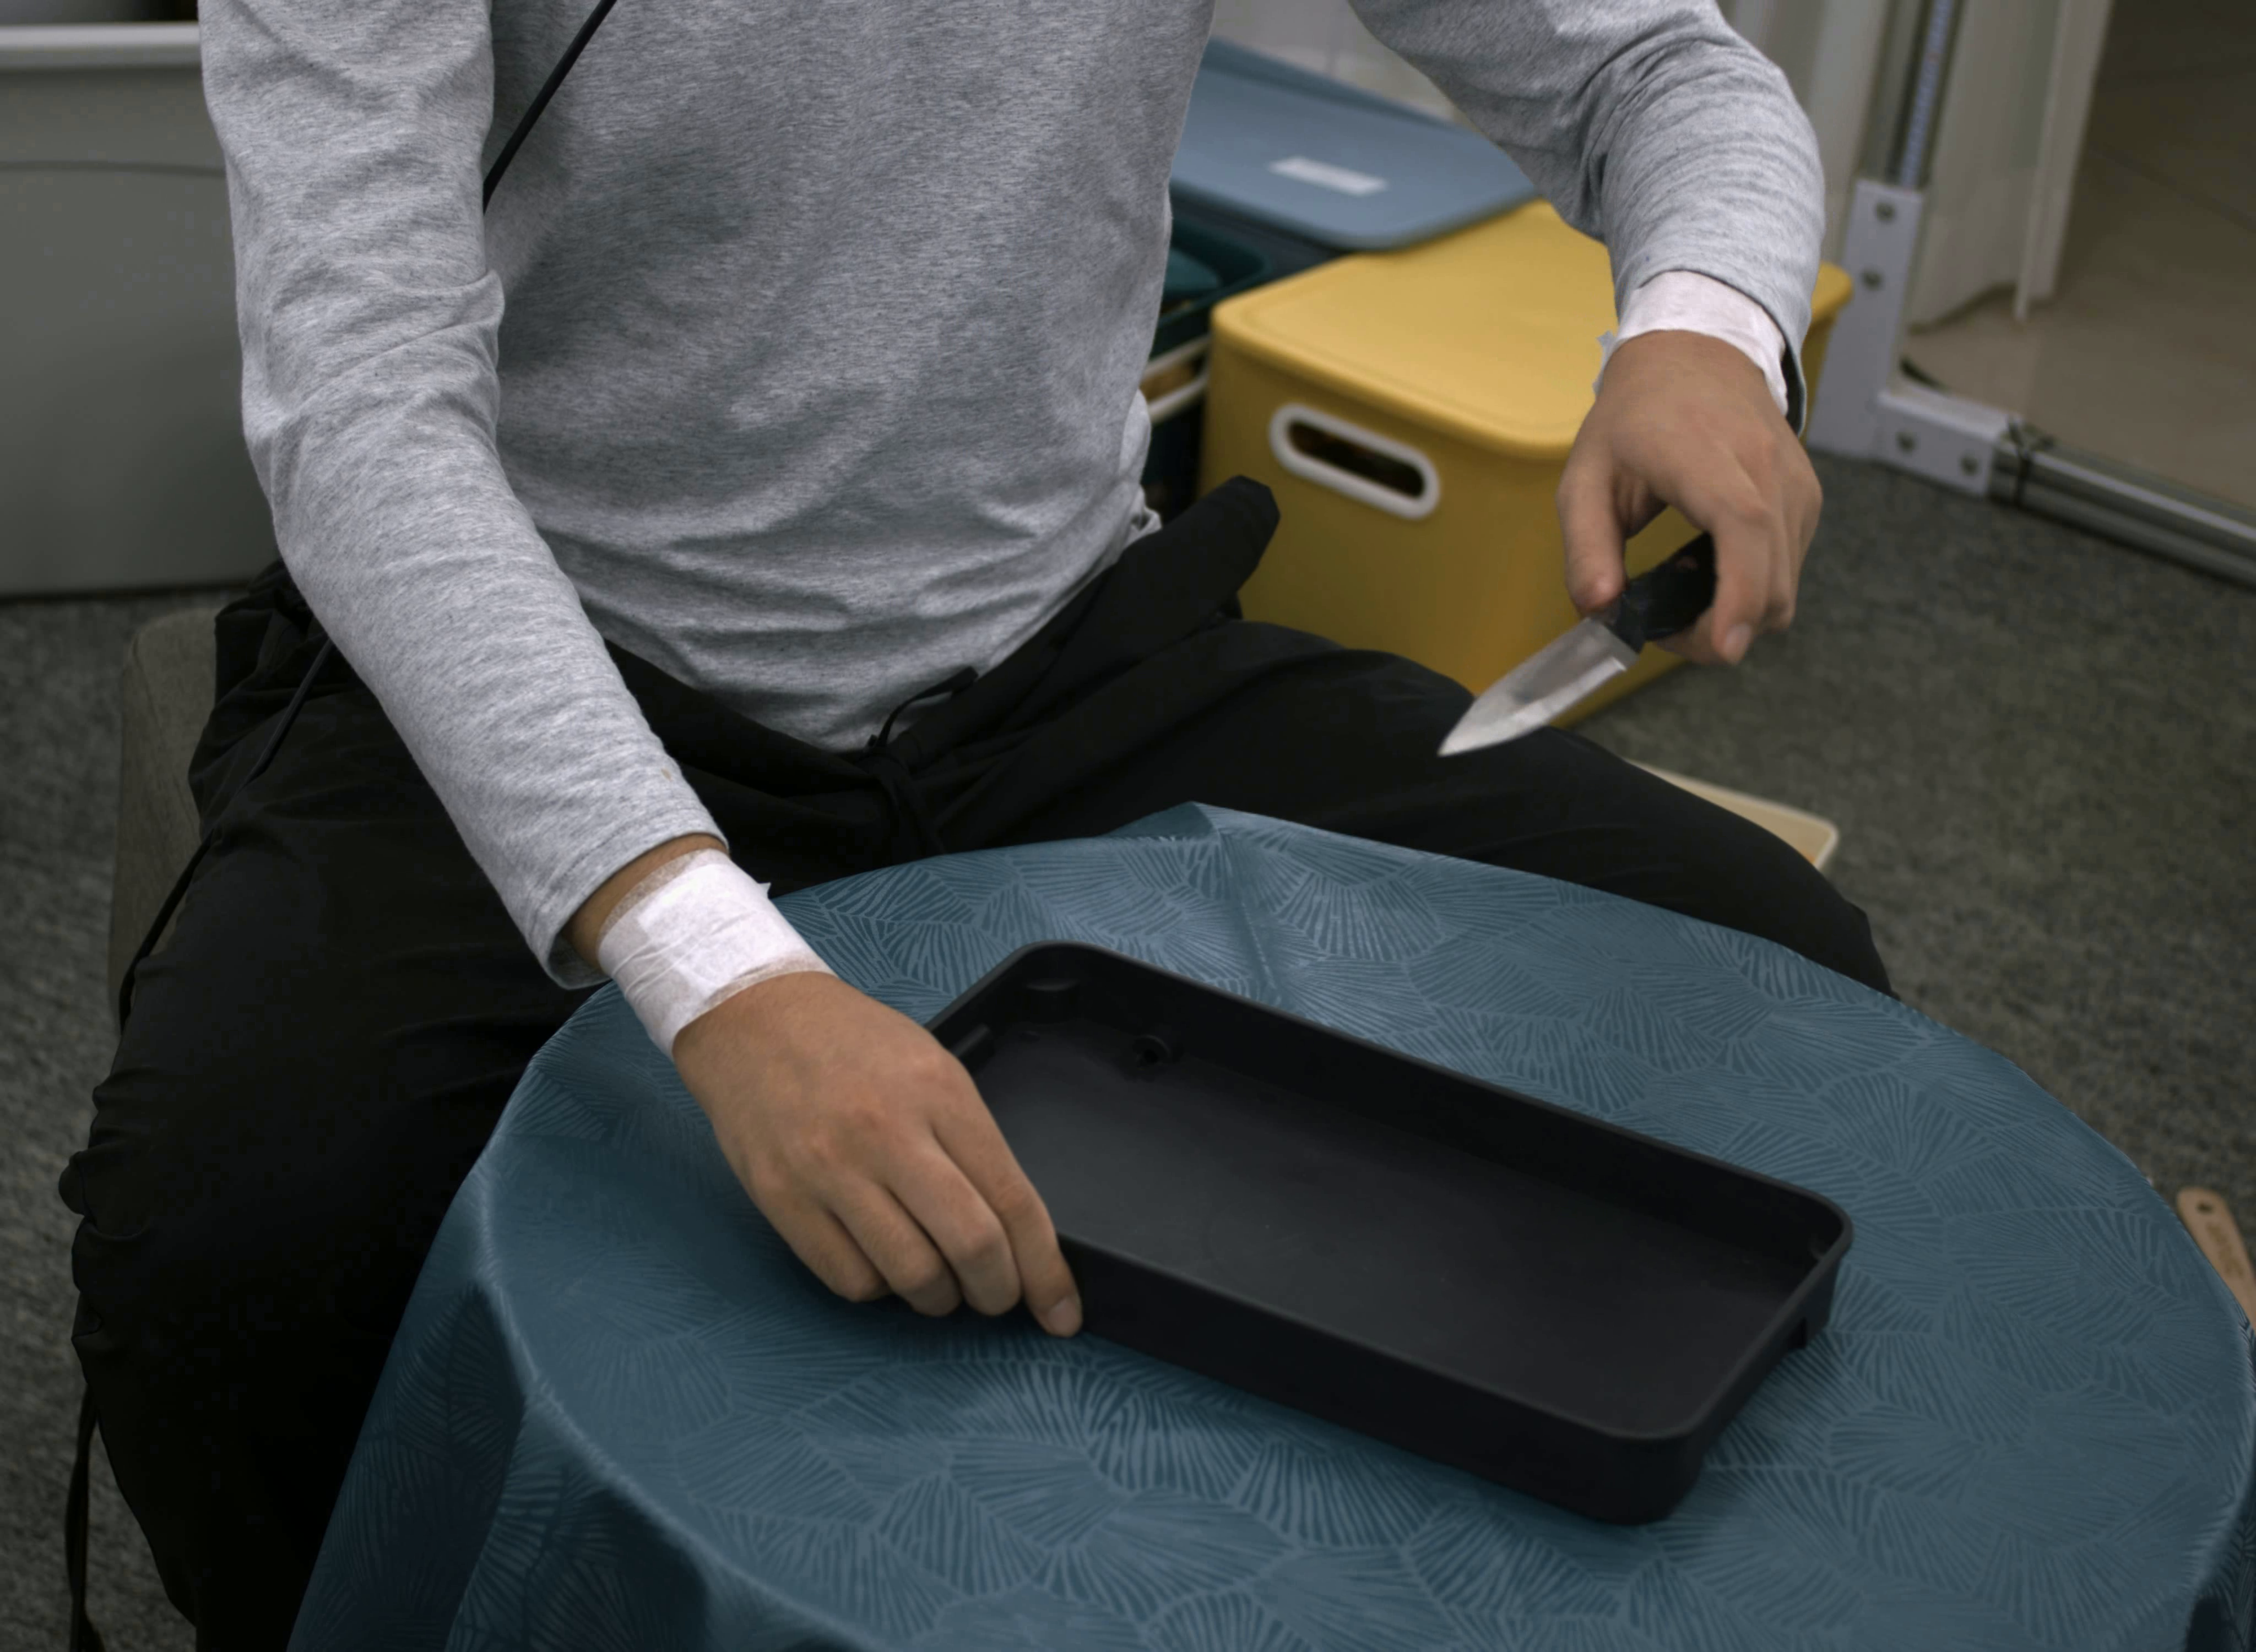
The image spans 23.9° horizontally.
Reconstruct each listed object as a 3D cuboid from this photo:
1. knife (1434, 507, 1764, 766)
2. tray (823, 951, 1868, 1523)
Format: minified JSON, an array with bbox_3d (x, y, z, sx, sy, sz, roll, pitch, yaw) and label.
[{"bbox_3d":[0.153,-0.063,1.747,0.024,0.016,0.238,47,37,6],"label":"knife"},{"bbox_3d":[0.071,0.132,1.767,0.319,0.037,0.184,17,28,21],"label":"tray"}]
